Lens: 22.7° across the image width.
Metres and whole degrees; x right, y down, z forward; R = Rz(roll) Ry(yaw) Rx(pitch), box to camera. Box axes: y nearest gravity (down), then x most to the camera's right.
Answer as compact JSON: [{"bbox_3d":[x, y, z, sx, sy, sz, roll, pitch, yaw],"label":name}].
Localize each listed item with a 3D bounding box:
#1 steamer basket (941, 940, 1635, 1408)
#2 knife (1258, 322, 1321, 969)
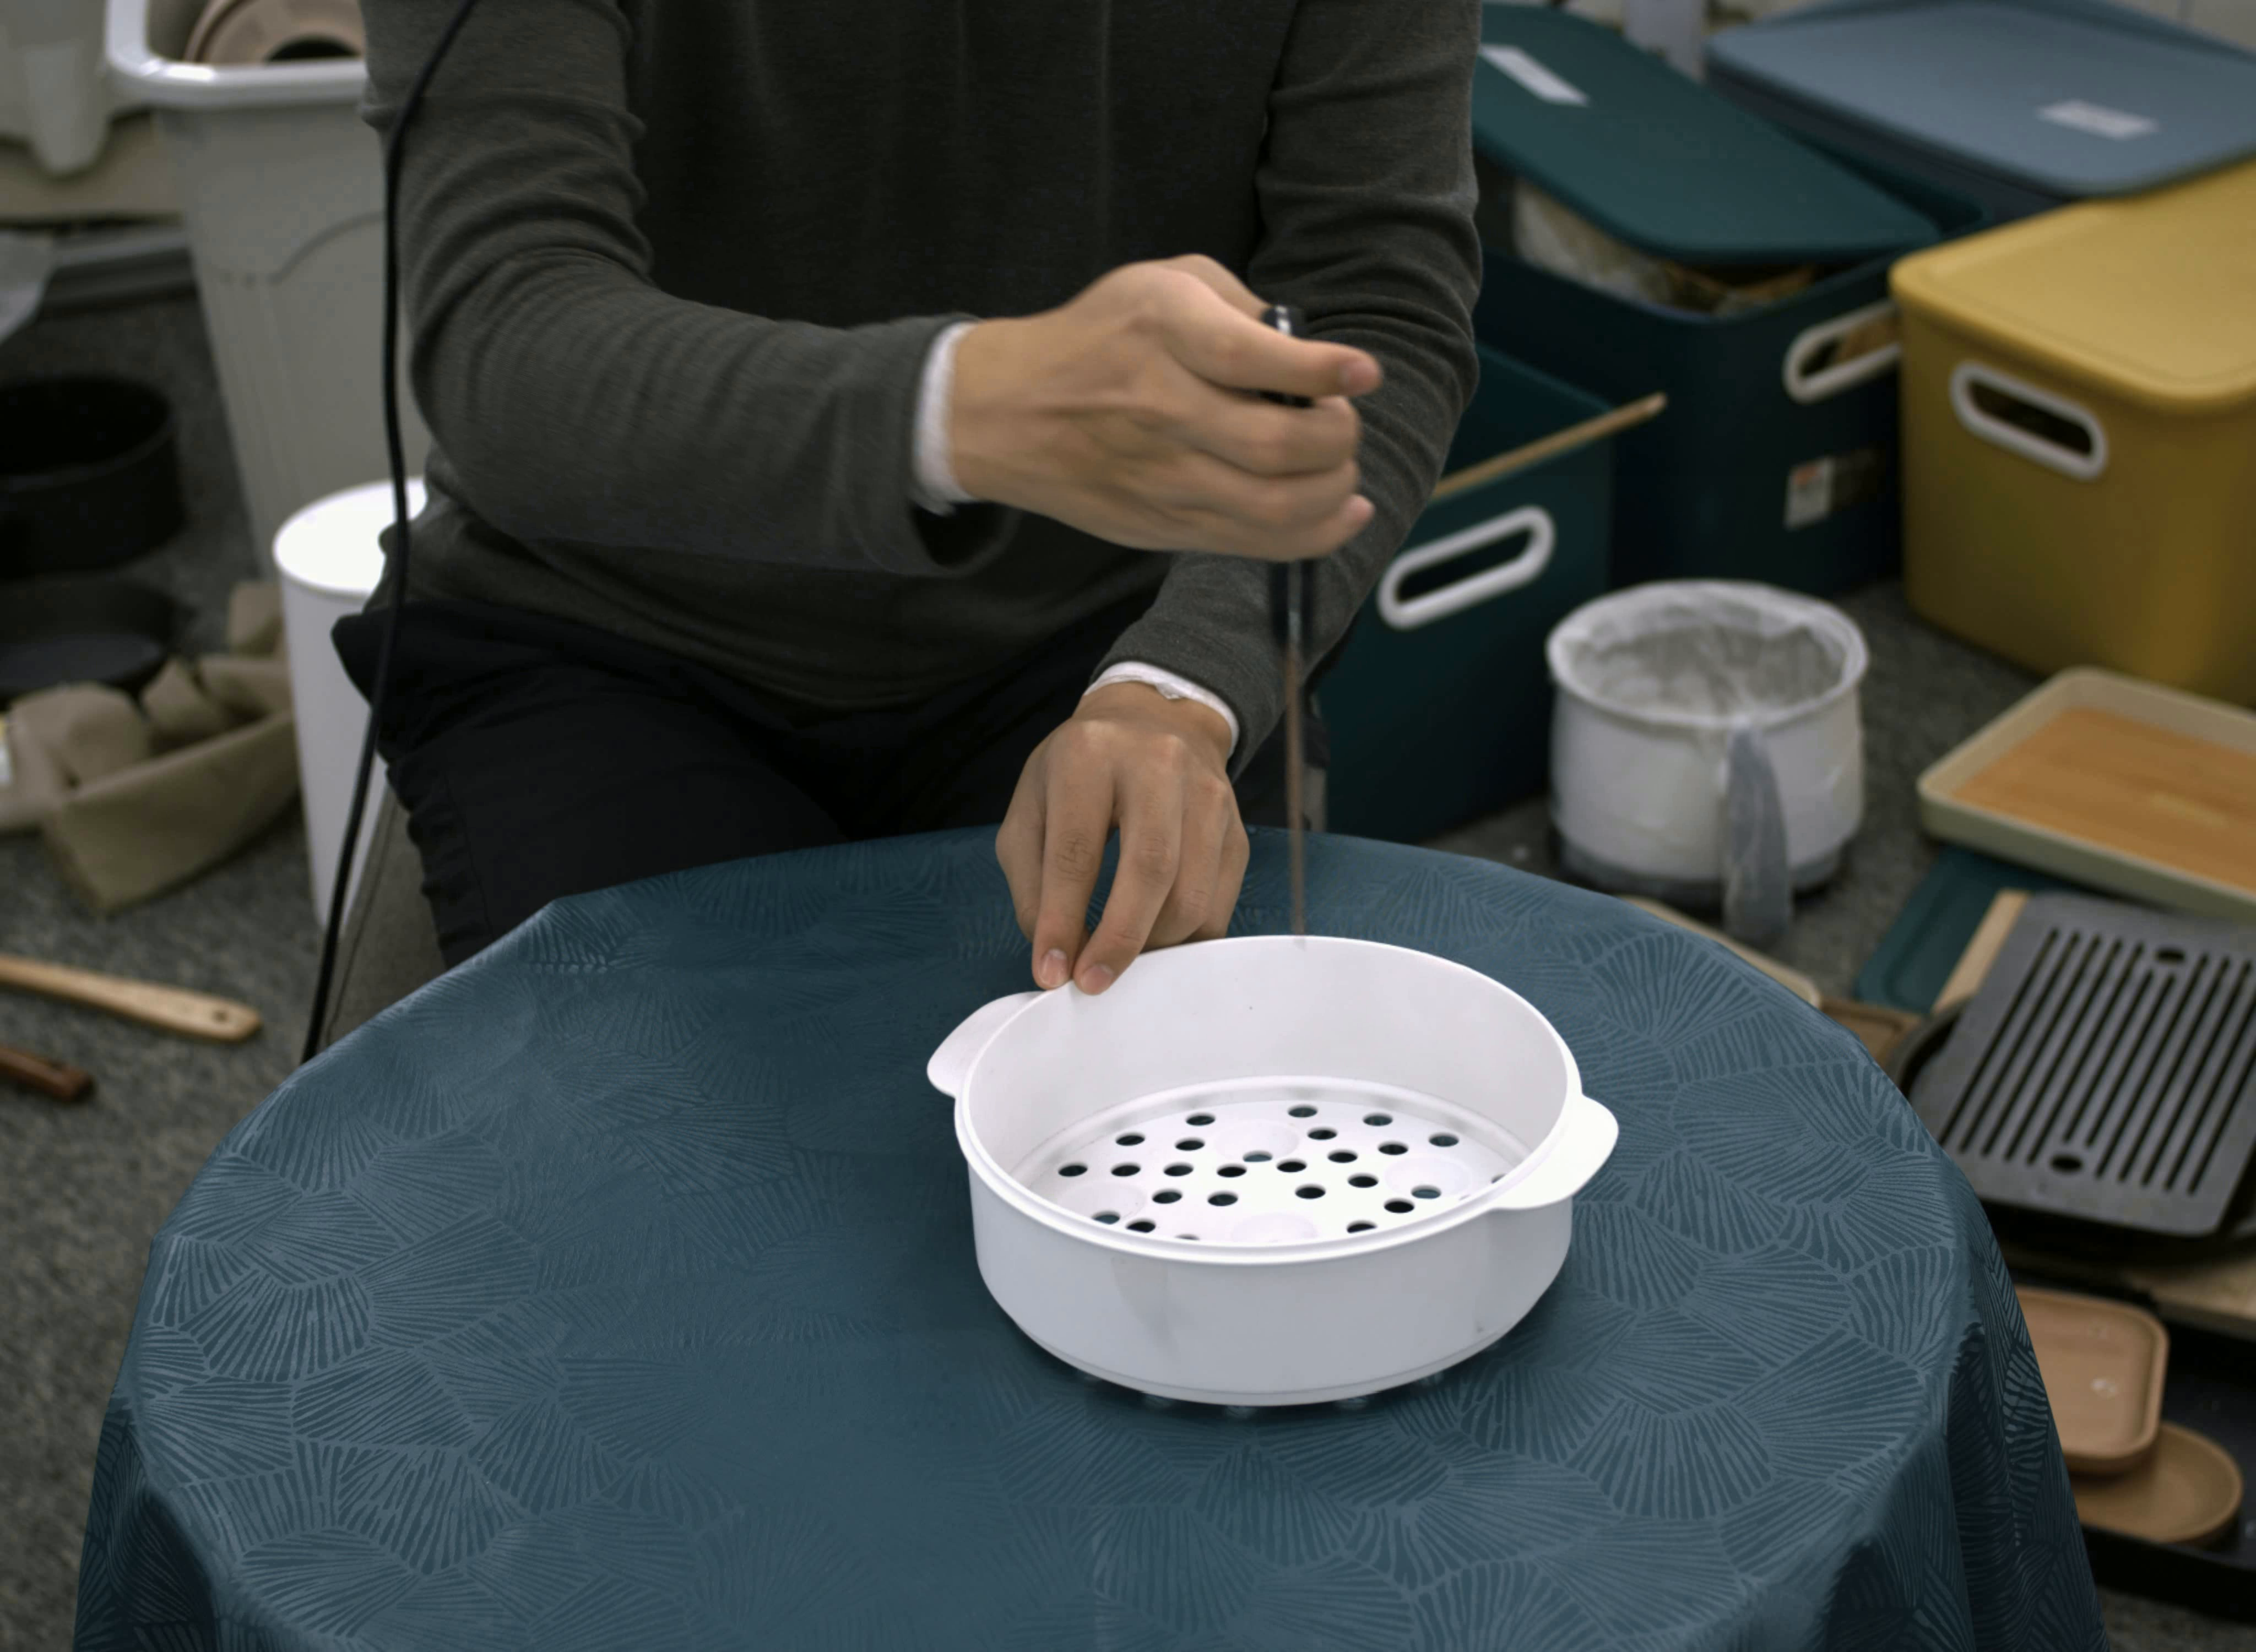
[{"bbox_3d":[0.051,0.111,1.803,0.229,0.068,0.205,10,29,25],"label":"steamer basket"},{"bbox_3d":[0.052,-0.052,1.704,0.016,0.235,0.025,-1,36,5],"label":"knife"}]
